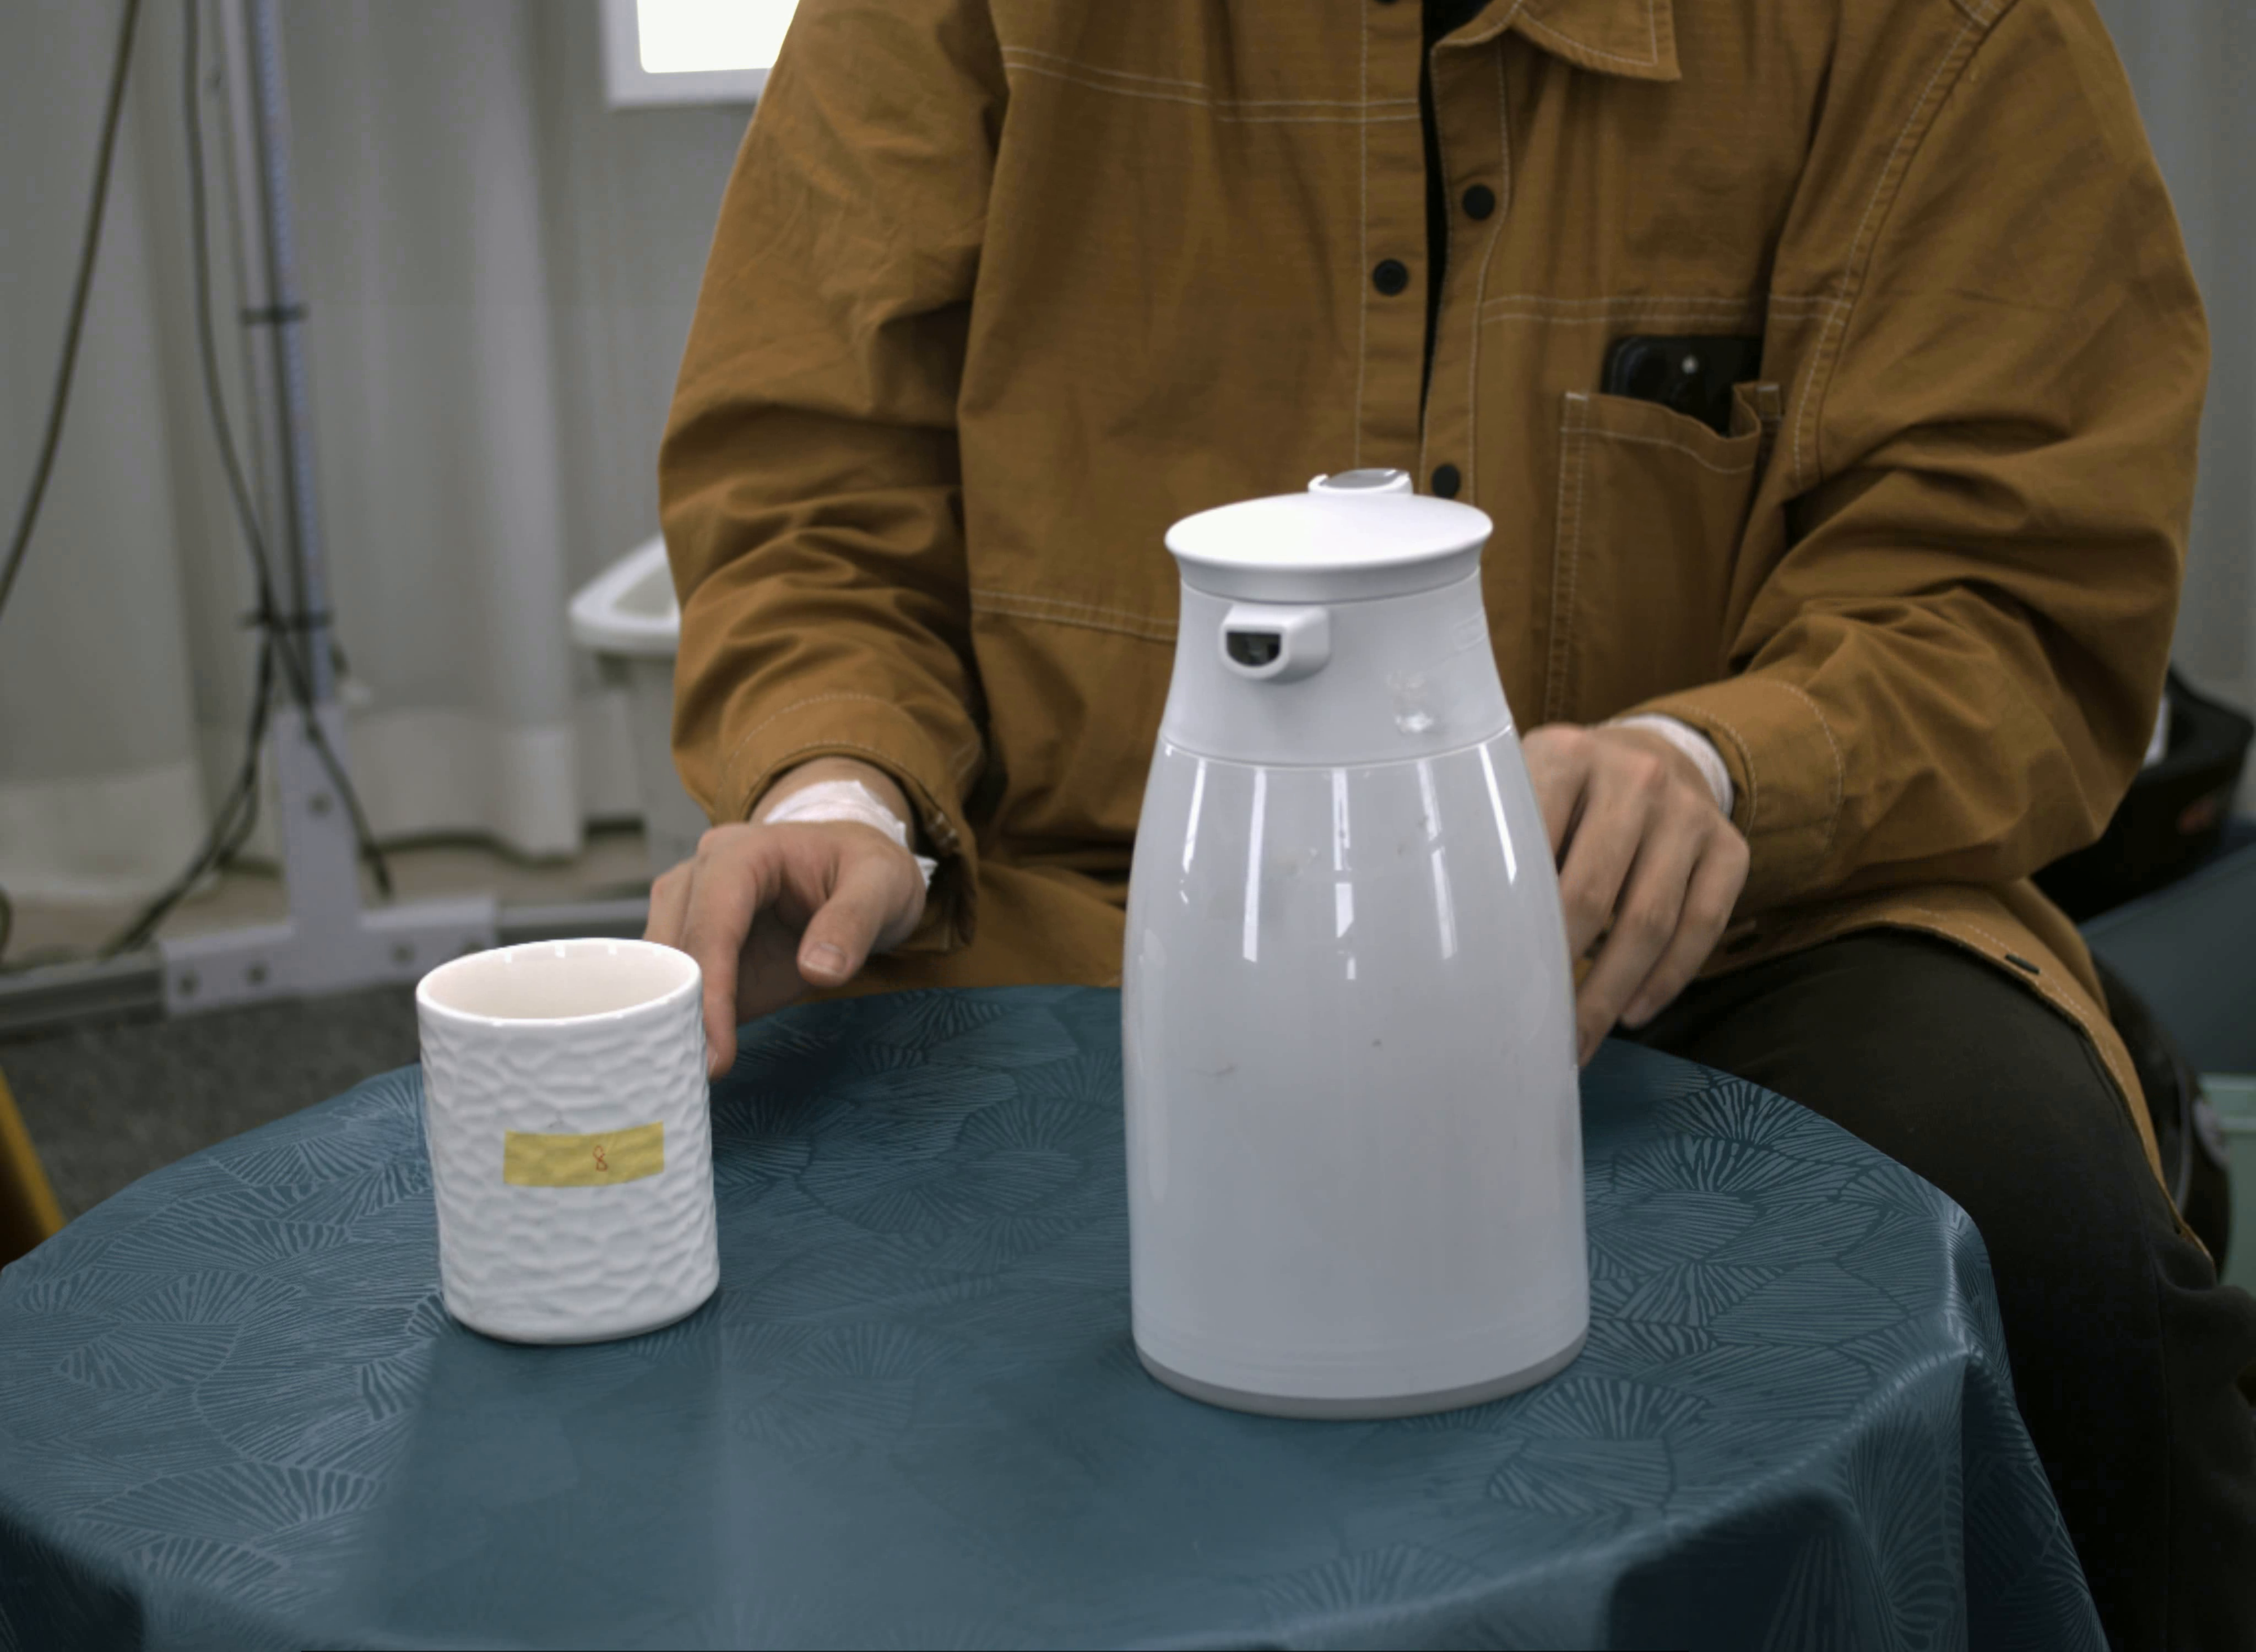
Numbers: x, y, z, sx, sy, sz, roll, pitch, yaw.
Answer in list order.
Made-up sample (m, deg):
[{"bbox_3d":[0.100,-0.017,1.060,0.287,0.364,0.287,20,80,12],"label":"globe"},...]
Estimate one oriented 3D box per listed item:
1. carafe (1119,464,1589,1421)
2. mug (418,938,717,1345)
[{"bbox_3d":[0.066,0.024,1.564,0.132,0.248,0.168,2,14,20],"label":"carafe"},{"bbox_3d":[-0.163,0.090,1.643,0.085,0.101,0.119,0,14,9],"label":"mug"}]
